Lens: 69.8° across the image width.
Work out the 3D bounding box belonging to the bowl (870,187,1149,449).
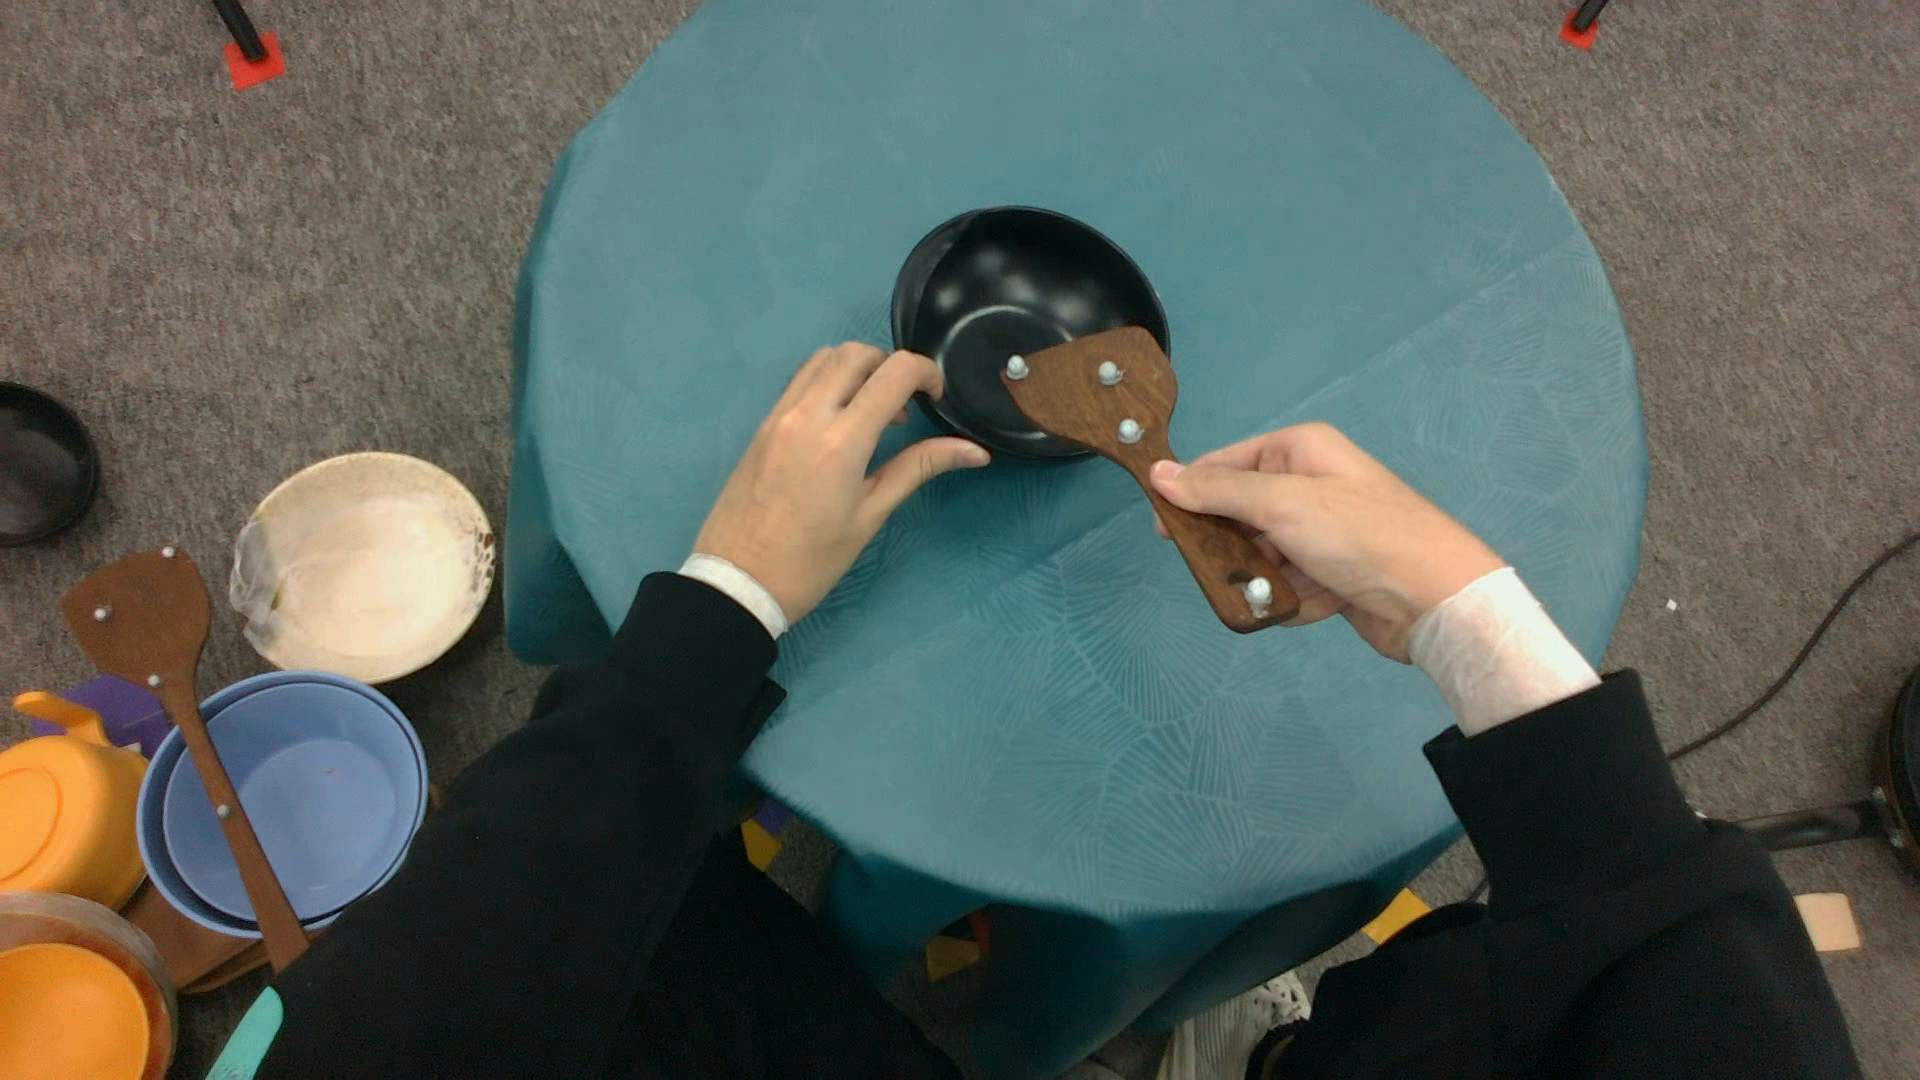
[{"bbox_3d":[0.019,-0.101,0.675,0.140,0.049,0.140,6,67,-15],"label":"bowl"}]

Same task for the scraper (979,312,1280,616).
[{"bbox_3d":[0.071,-0.036,0.555,0.076,0.011,0.212,-18,38,-7],"label":"scraper"}]
